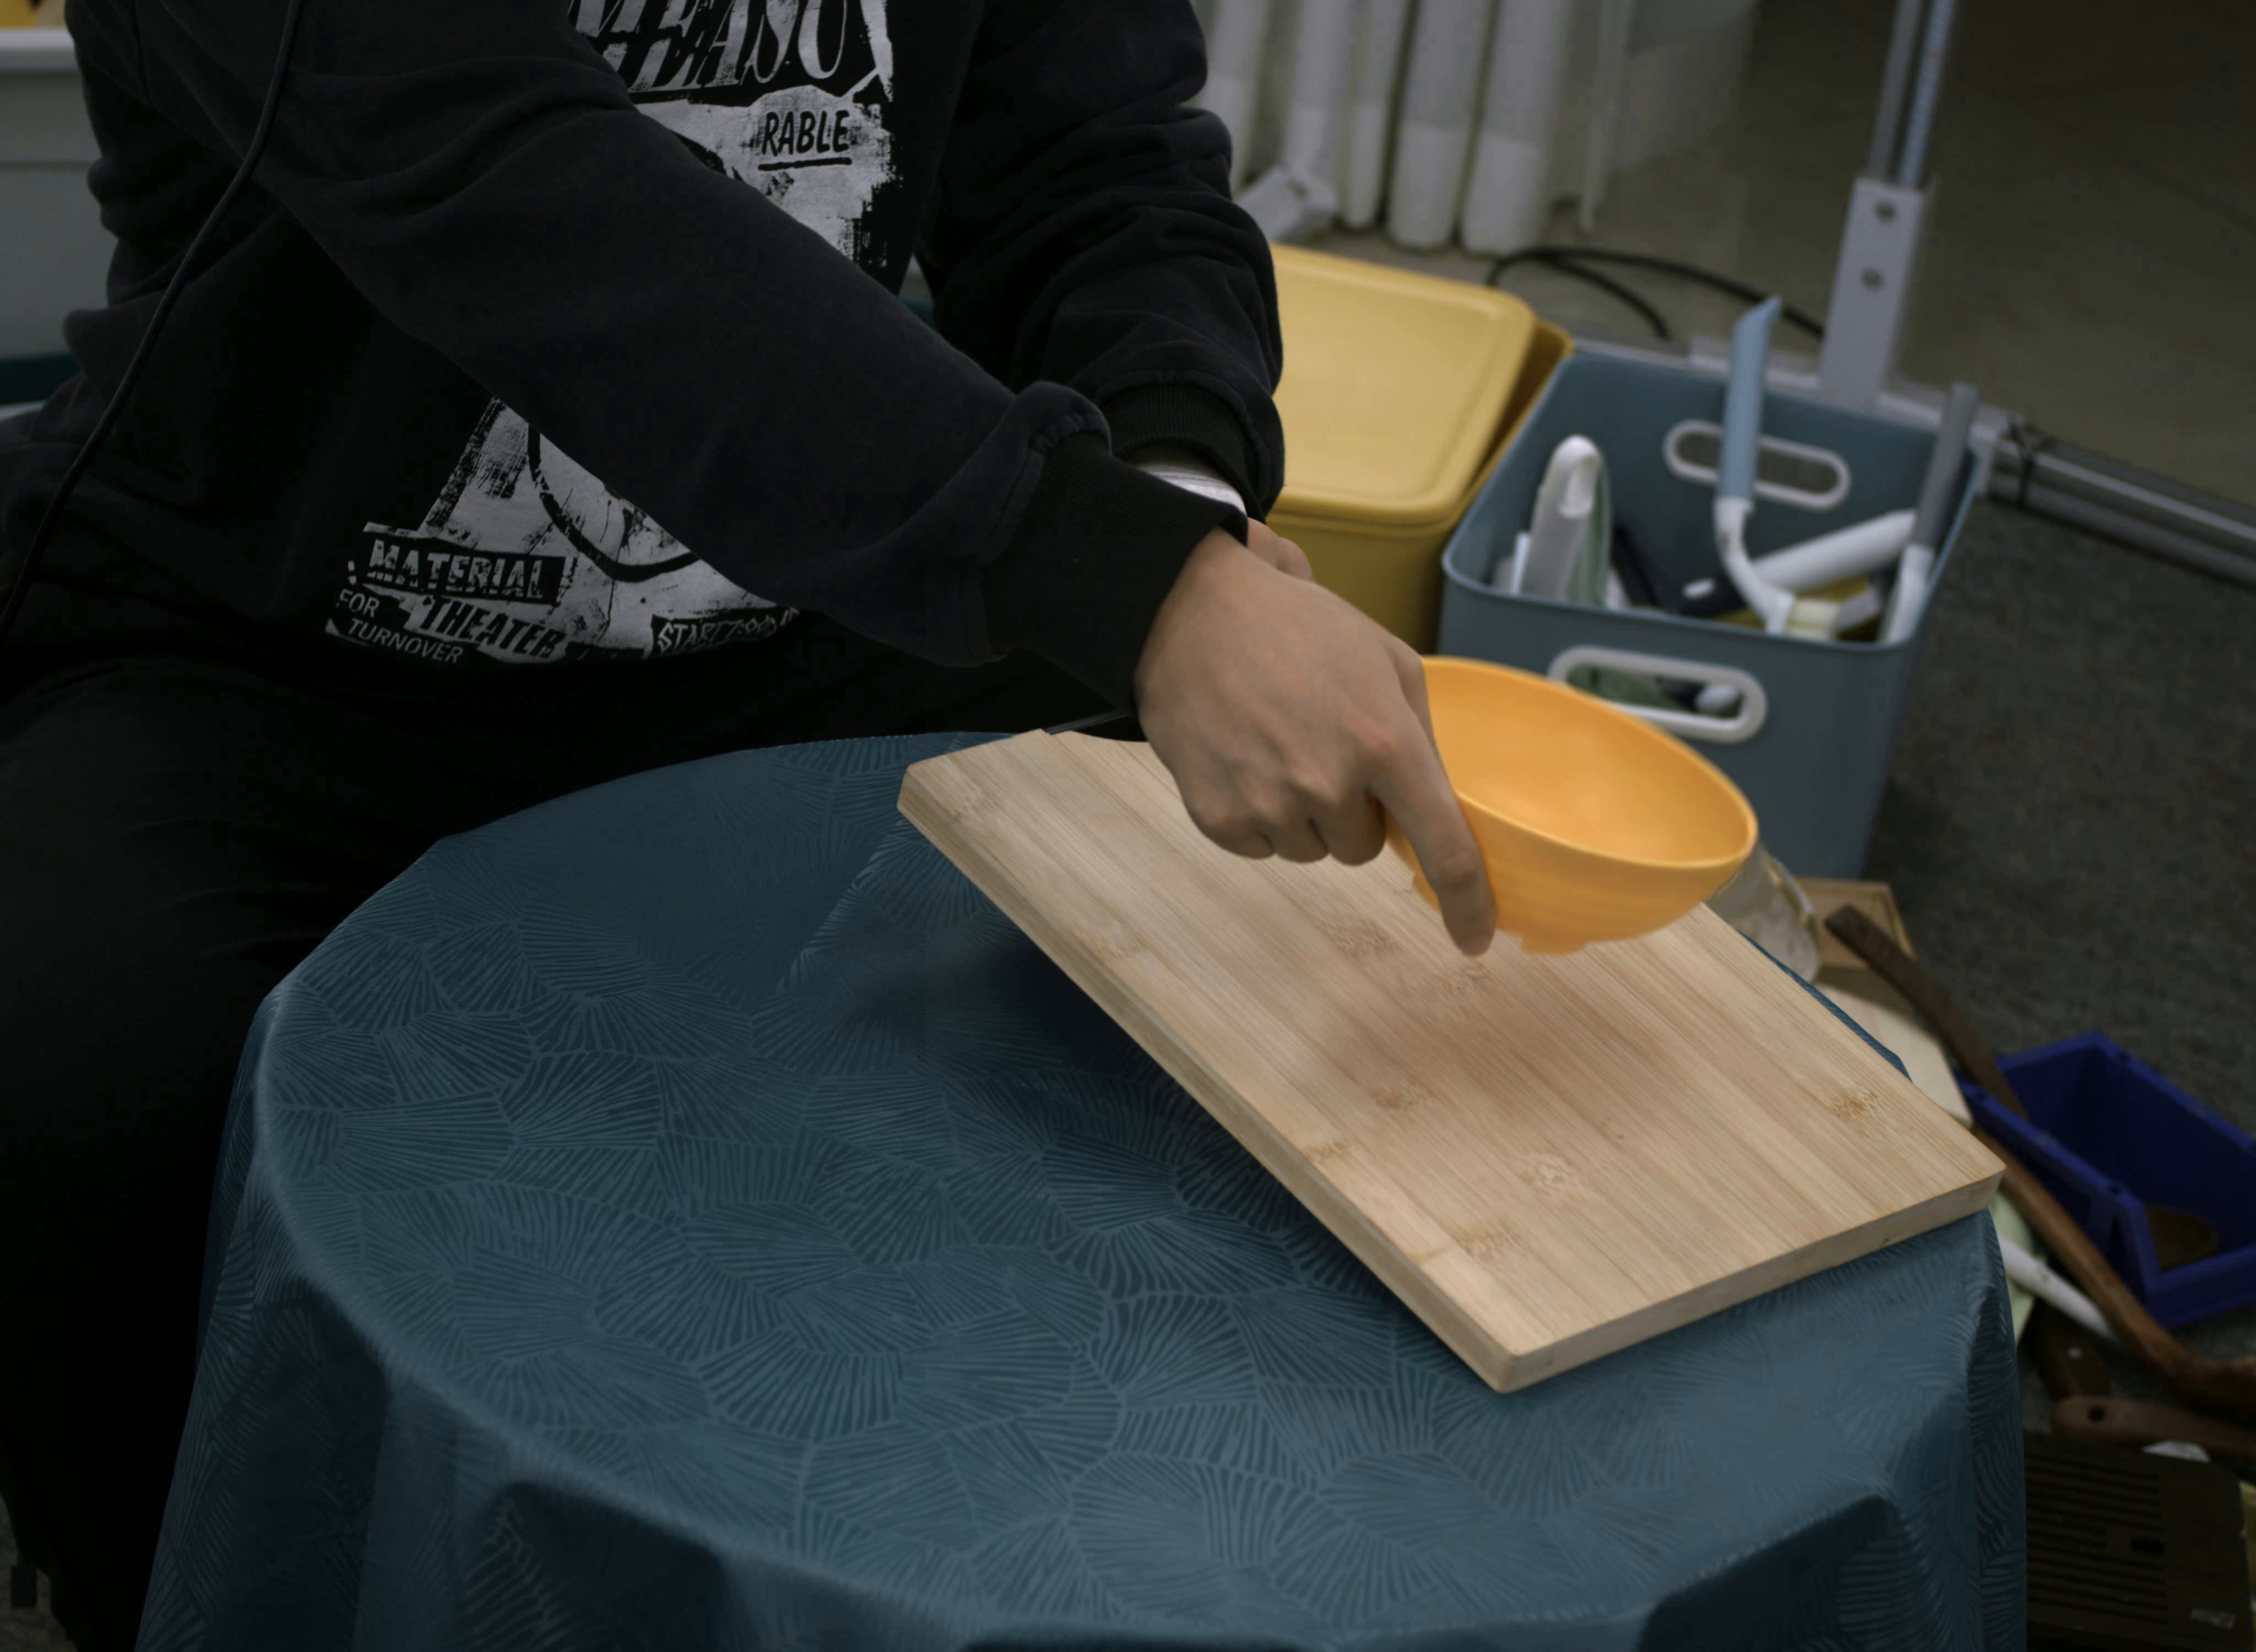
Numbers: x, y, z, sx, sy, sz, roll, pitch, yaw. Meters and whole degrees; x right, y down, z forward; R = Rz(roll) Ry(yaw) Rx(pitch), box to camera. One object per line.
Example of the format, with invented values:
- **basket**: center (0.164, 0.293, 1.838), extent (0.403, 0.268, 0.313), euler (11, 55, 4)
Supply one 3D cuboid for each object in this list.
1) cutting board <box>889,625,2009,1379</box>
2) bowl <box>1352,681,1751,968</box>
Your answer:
- **cutting board**: center (0.109, 0.053, 1.878), extent (0.249, 0.023, 0.351), euler (-16, 45, -38)
- **bowl**: center (0.135, 0.007, 1.809), extent (0.145, 0.060, 0.146), euler (18, 18, -6)
